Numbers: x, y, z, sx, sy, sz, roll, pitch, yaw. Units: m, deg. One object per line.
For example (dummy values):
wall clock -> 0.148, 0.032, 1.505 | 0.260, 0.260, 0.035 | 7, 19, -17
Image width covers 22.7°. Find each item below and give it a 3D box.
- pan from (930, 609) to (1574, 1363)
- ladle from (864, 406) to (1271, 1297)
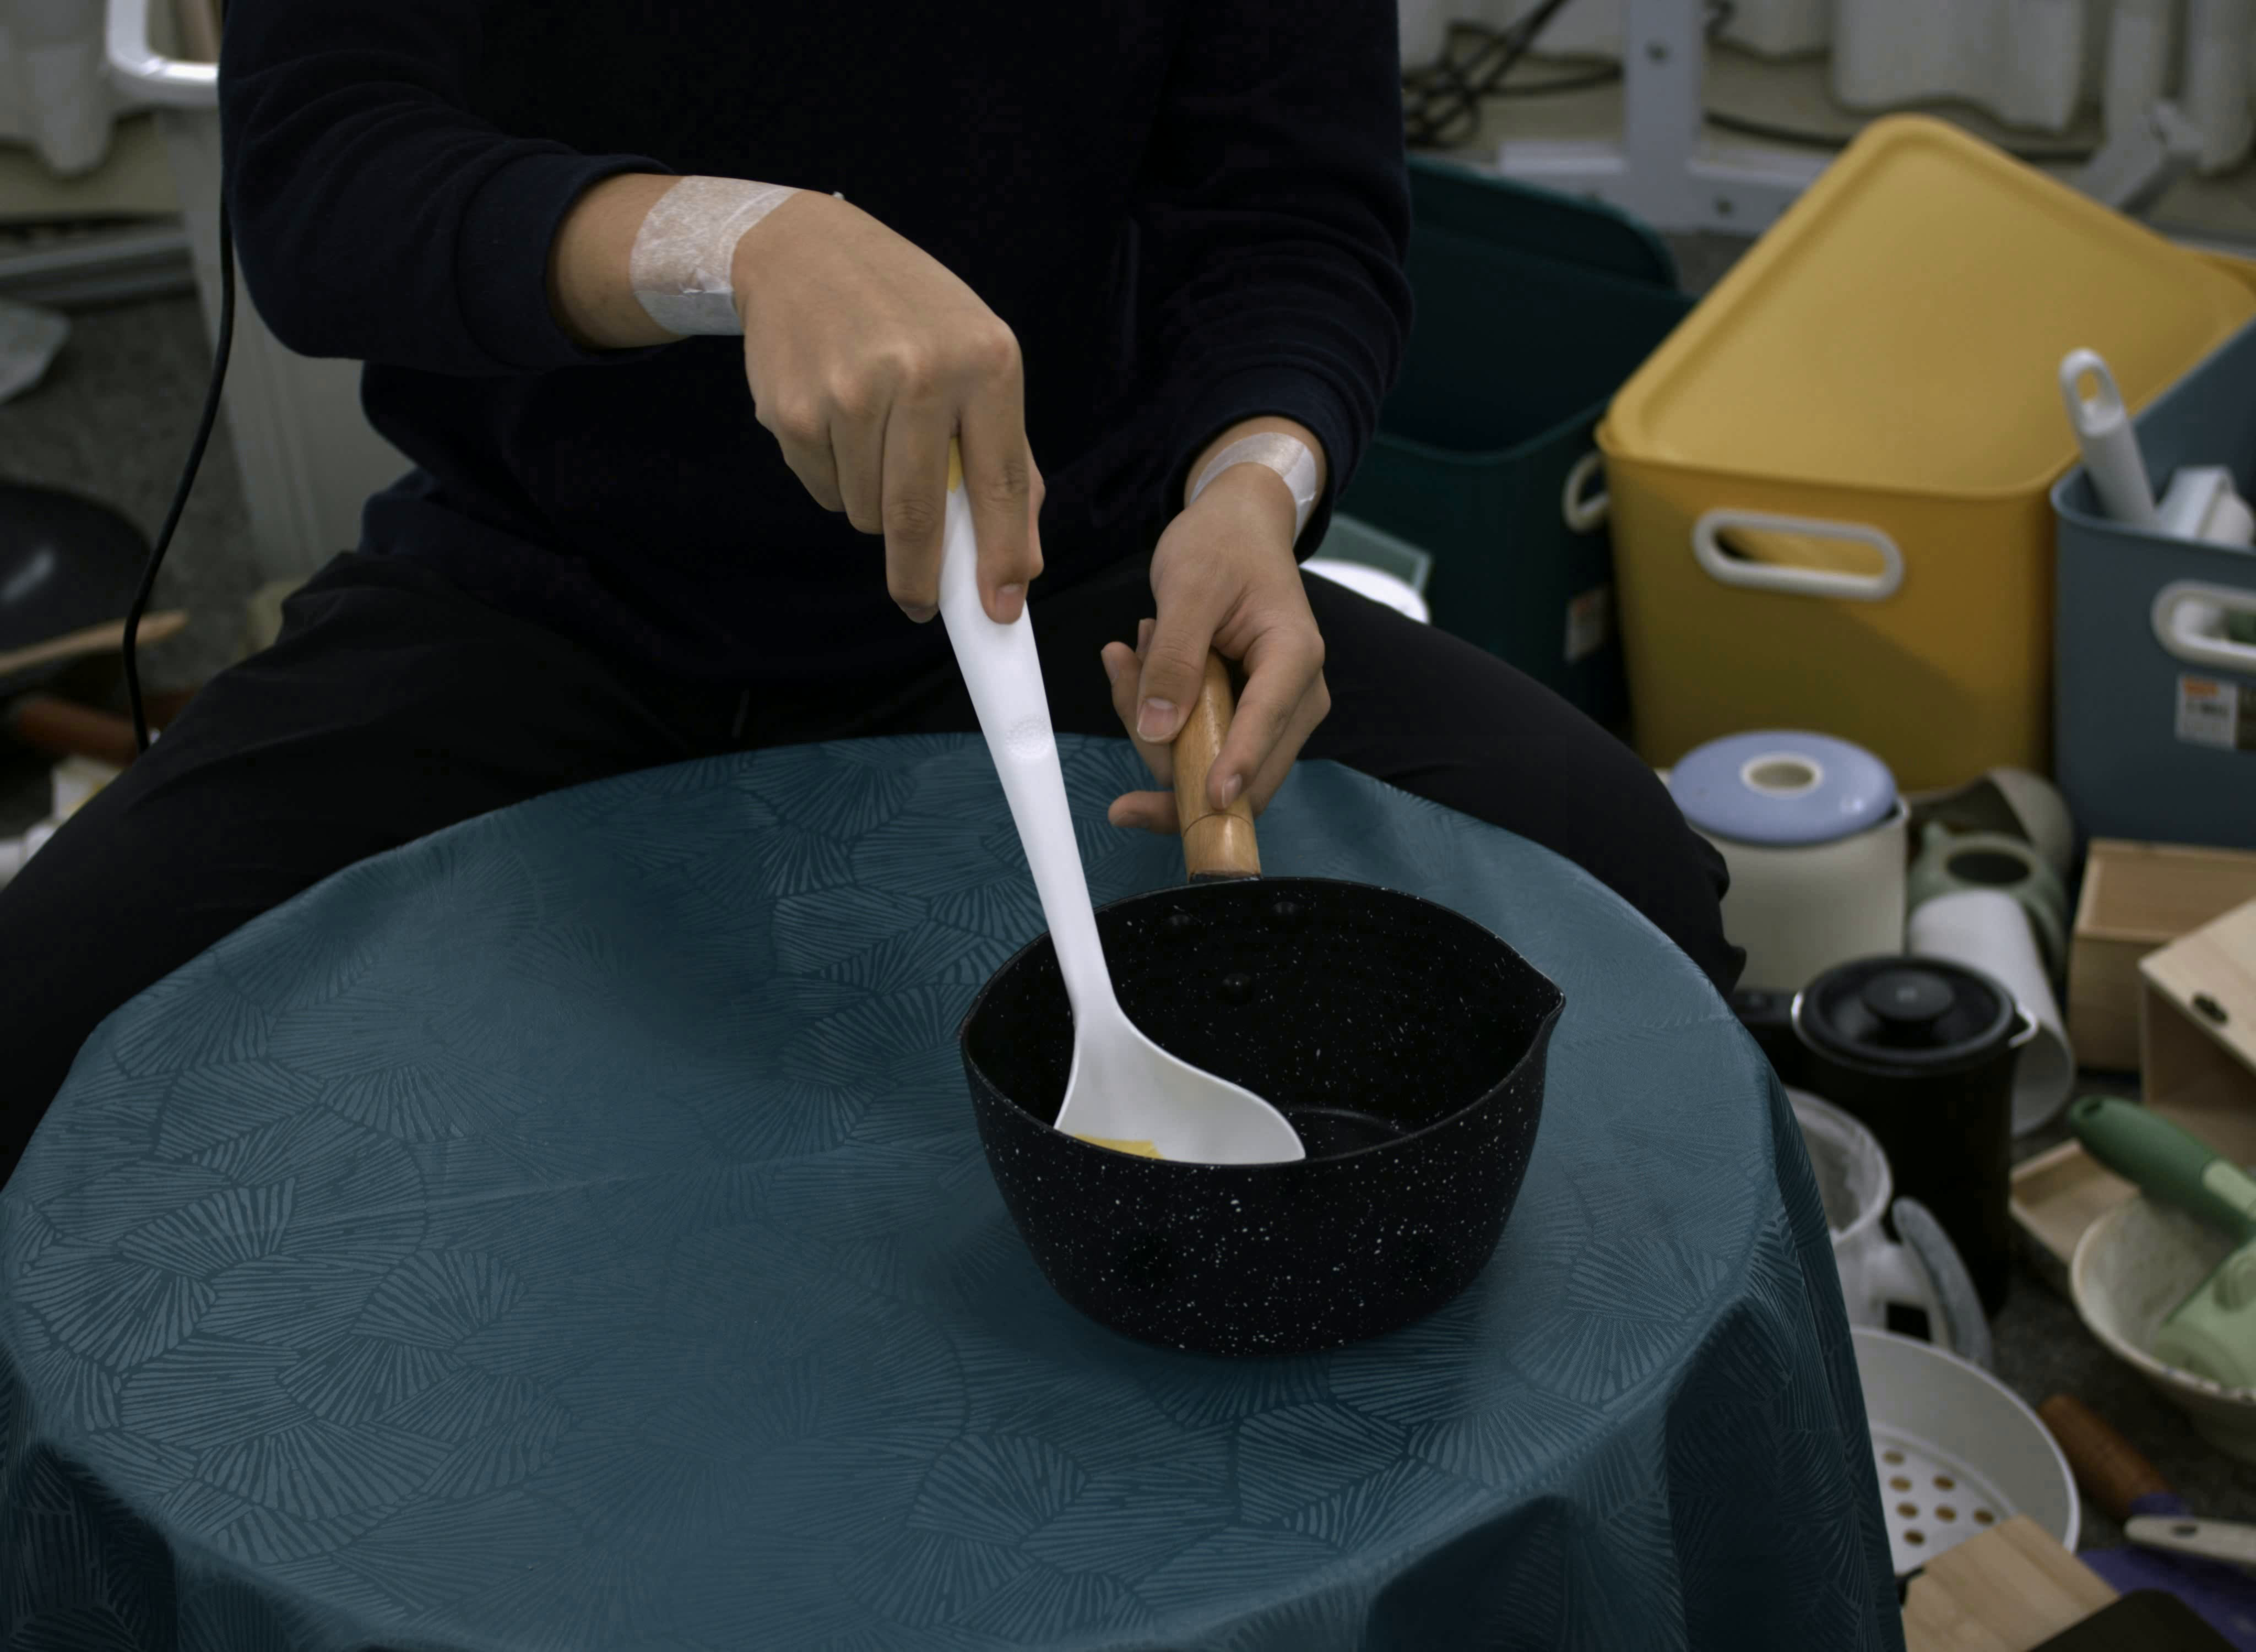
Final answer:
pan -> 0.035, 0.050, 1.881 | 0.207, 0.107, 0.348 | -6, 29, -3
ladle -> -0.029, 0.007, 1.810 | 0.090, 0.294, 0.070 | -16, 1, -9
